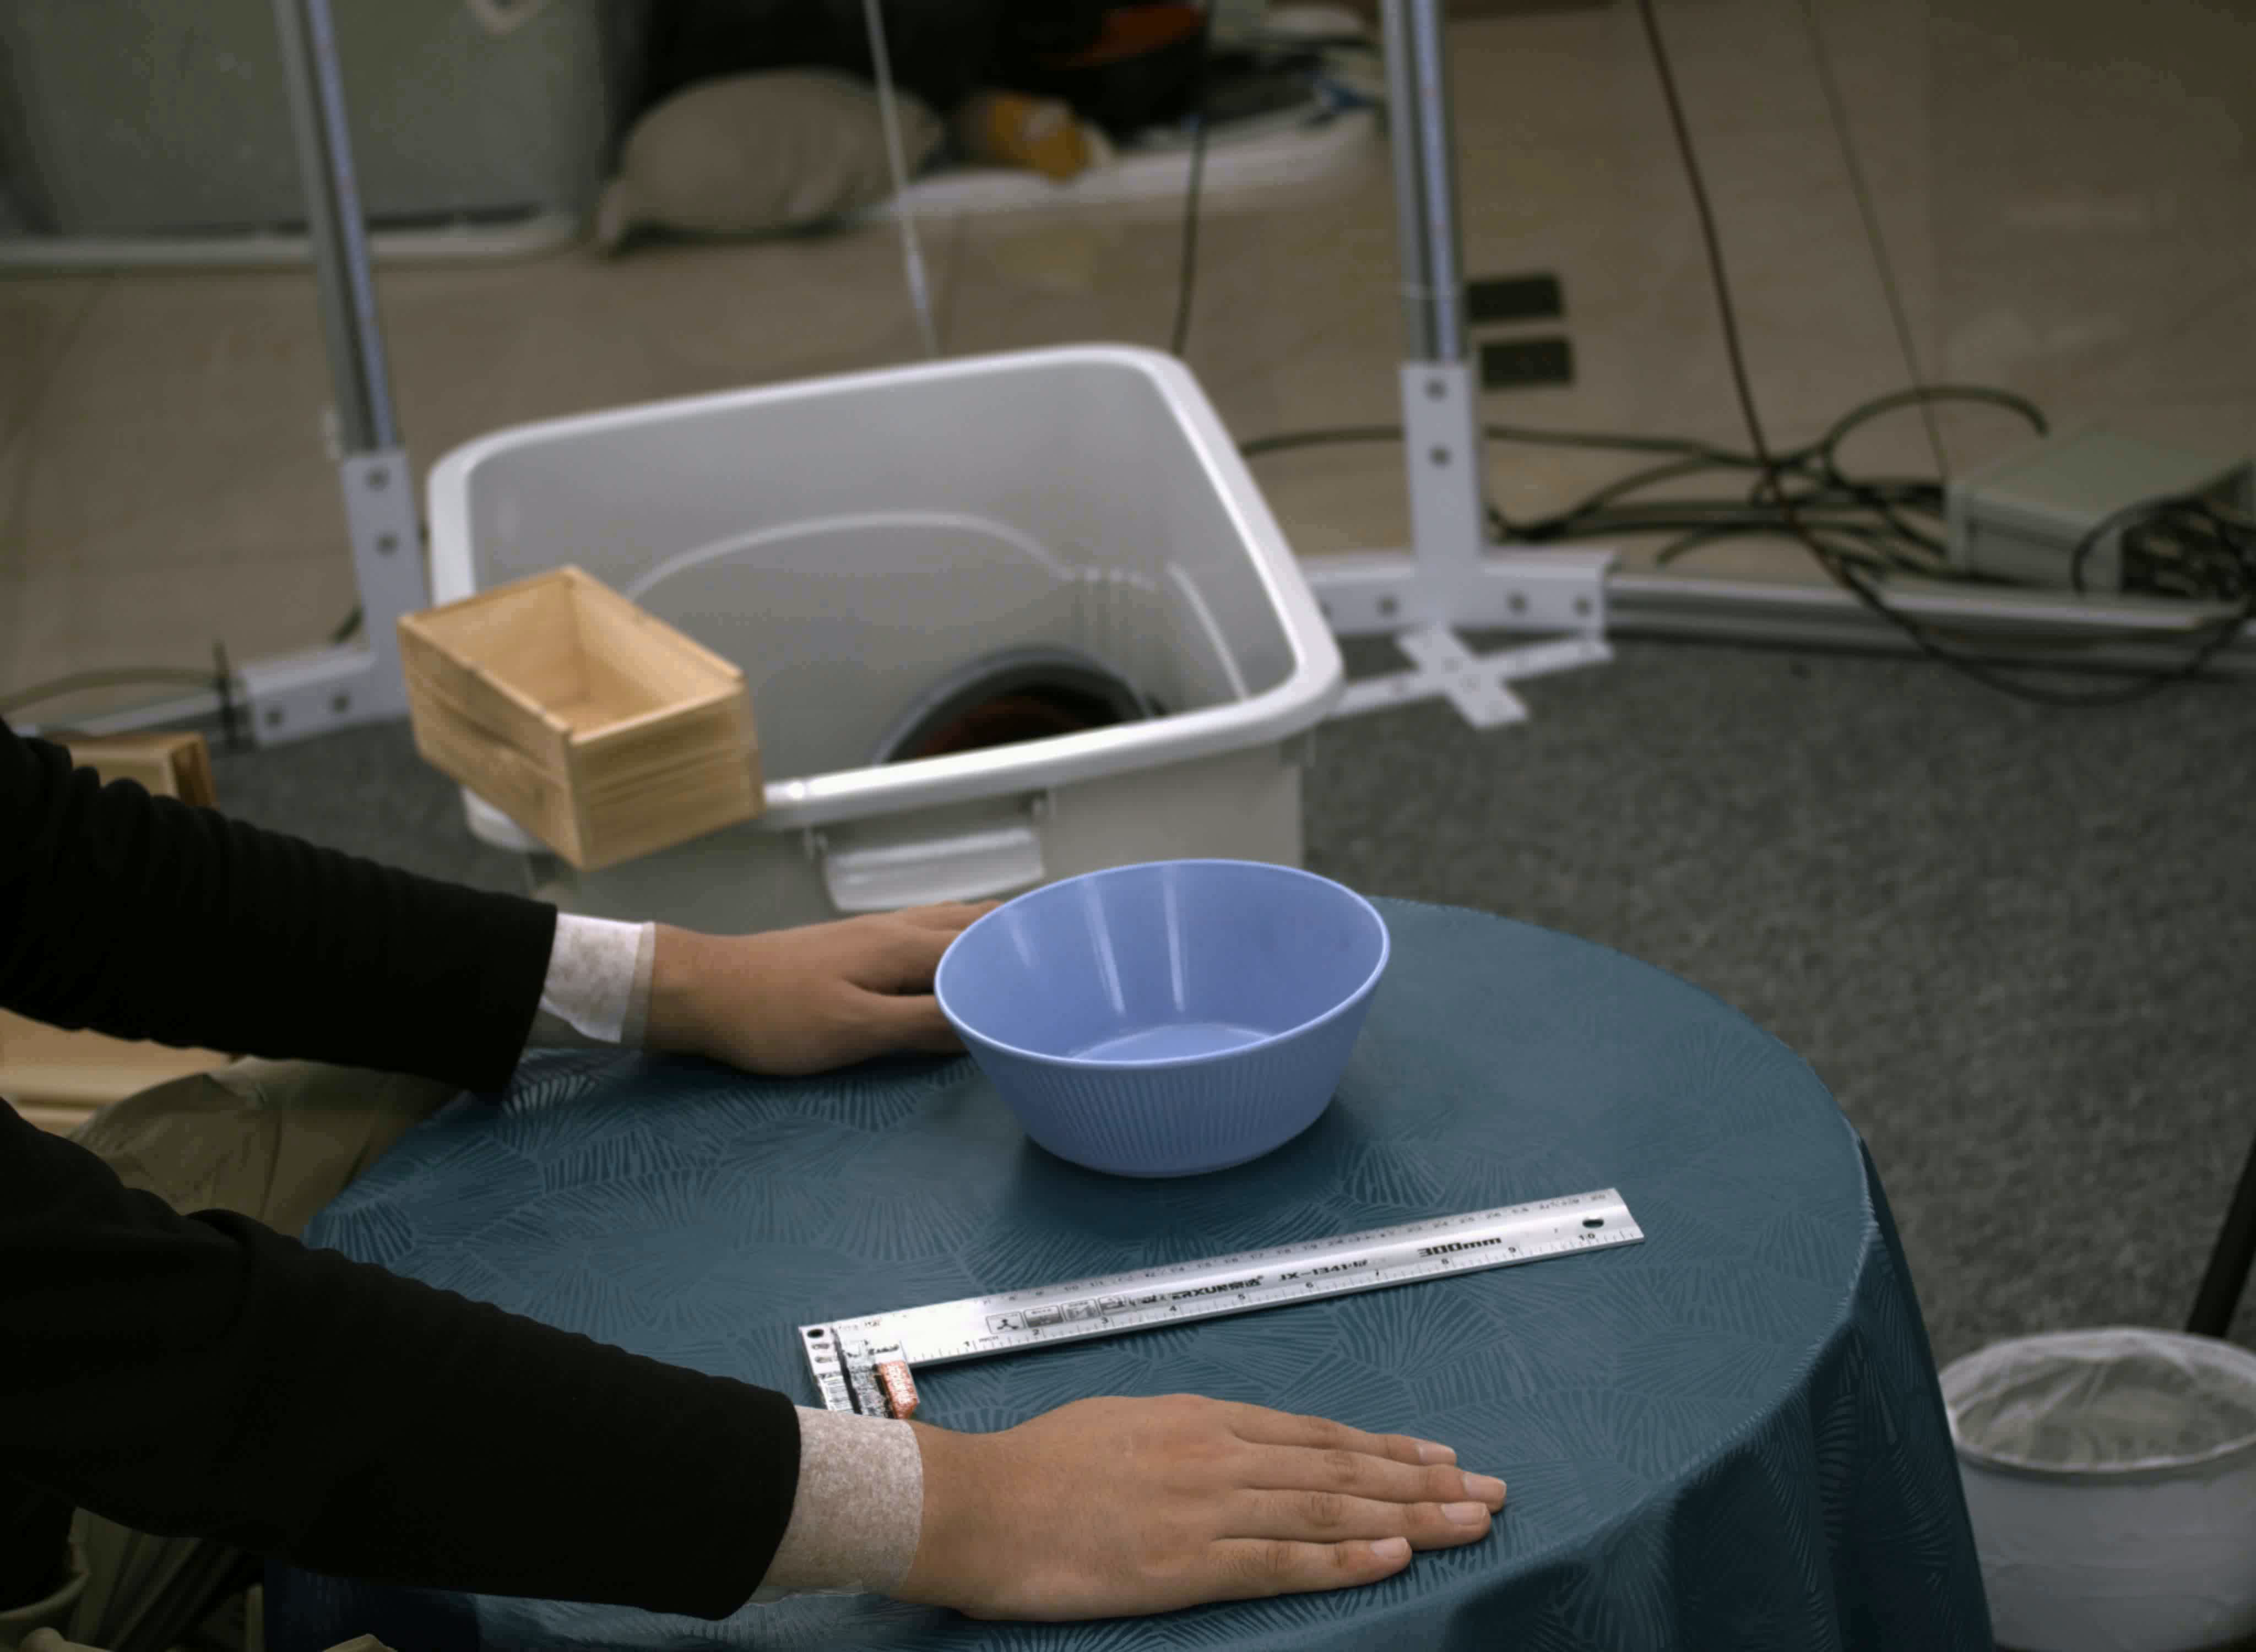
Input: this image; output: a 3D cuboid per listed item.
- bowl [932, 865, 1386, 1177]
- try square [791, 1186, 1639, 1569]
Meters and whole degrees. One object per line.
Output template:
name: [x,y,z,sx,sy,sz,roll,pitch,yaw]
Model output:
bowl: [0.014,0.081,2.187,0.176,0.071,0.173,-5,25,2]
try square: [0.041,0.192,2.023,0.312,0.016,0.150,-9,29,-8]
